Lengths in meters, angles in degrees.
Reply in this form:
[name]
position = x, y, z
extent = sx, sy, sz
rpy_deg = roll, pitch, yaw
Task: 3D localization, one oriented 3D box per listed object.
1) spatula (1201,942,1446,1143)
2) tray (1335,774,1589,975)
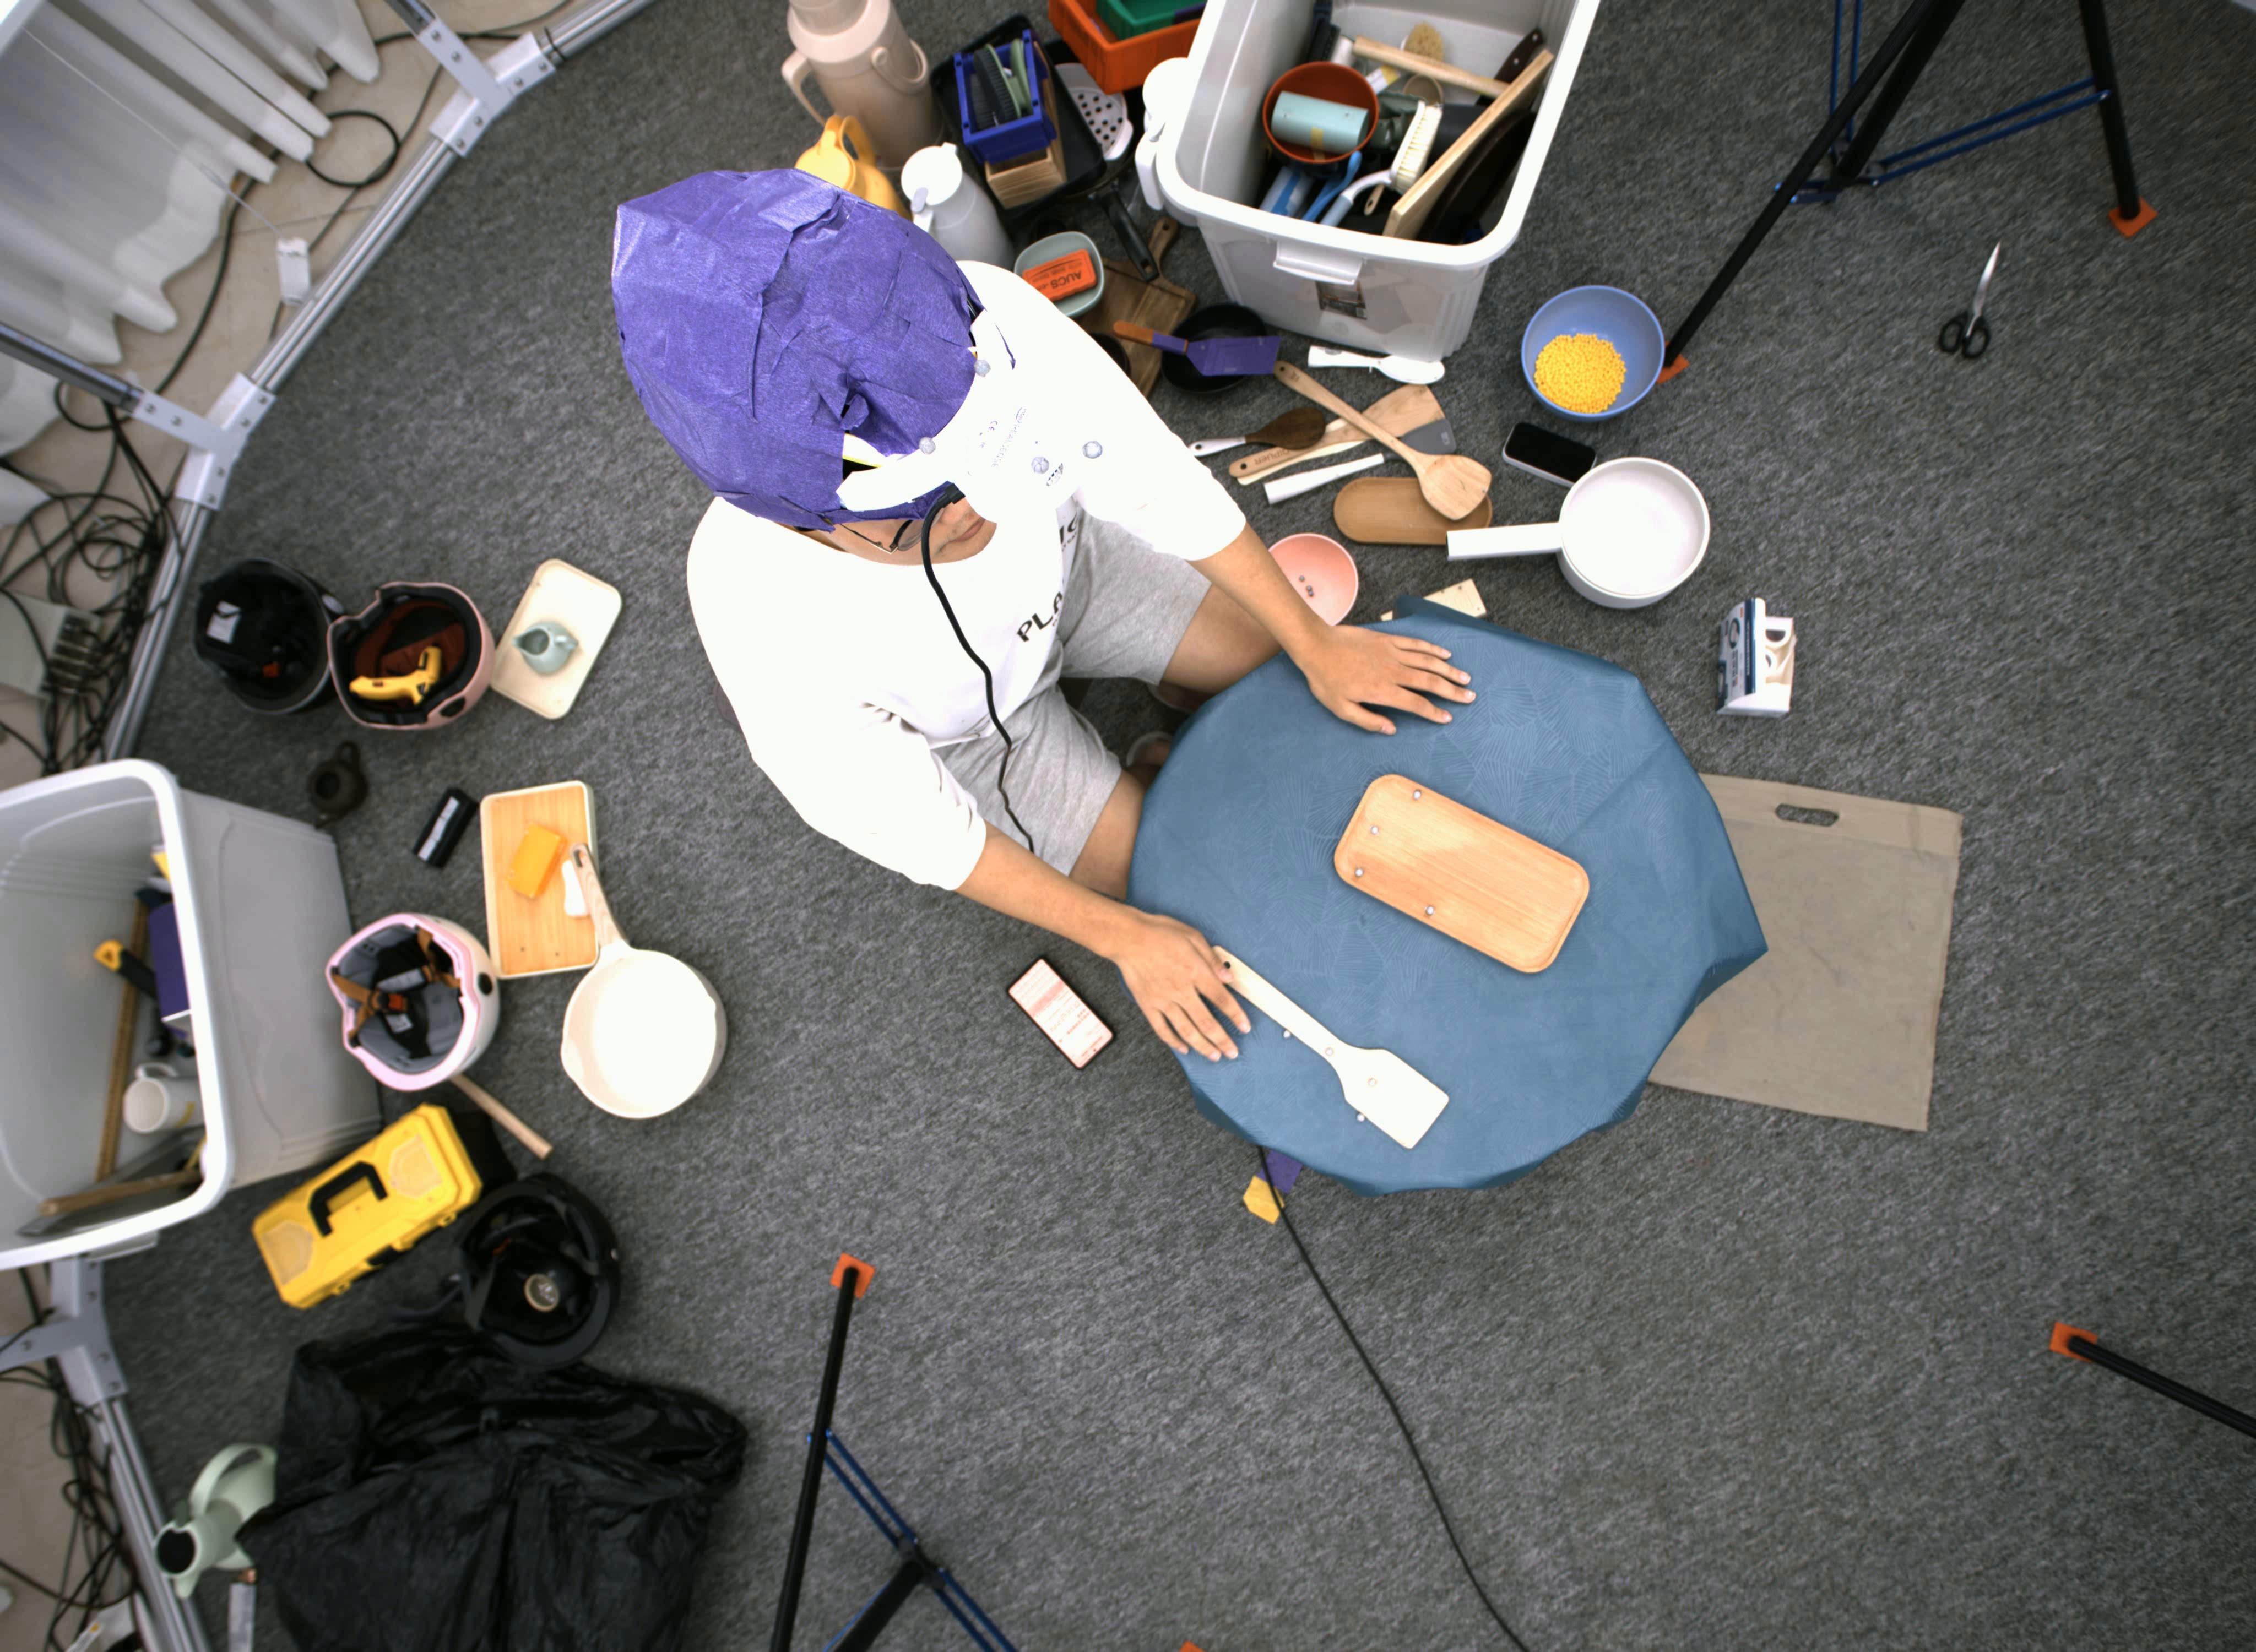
[spatula]
position = 0.197, 0.218, 1.460
extent = 0.292, 0.010, 0.072
rpy_deg = 37, 95, 11
[tray]
position = 0.347, 0.048, 1.438
extent = 0.250, 0.023, 0.131
rpy_deg = 29, 95, 11
